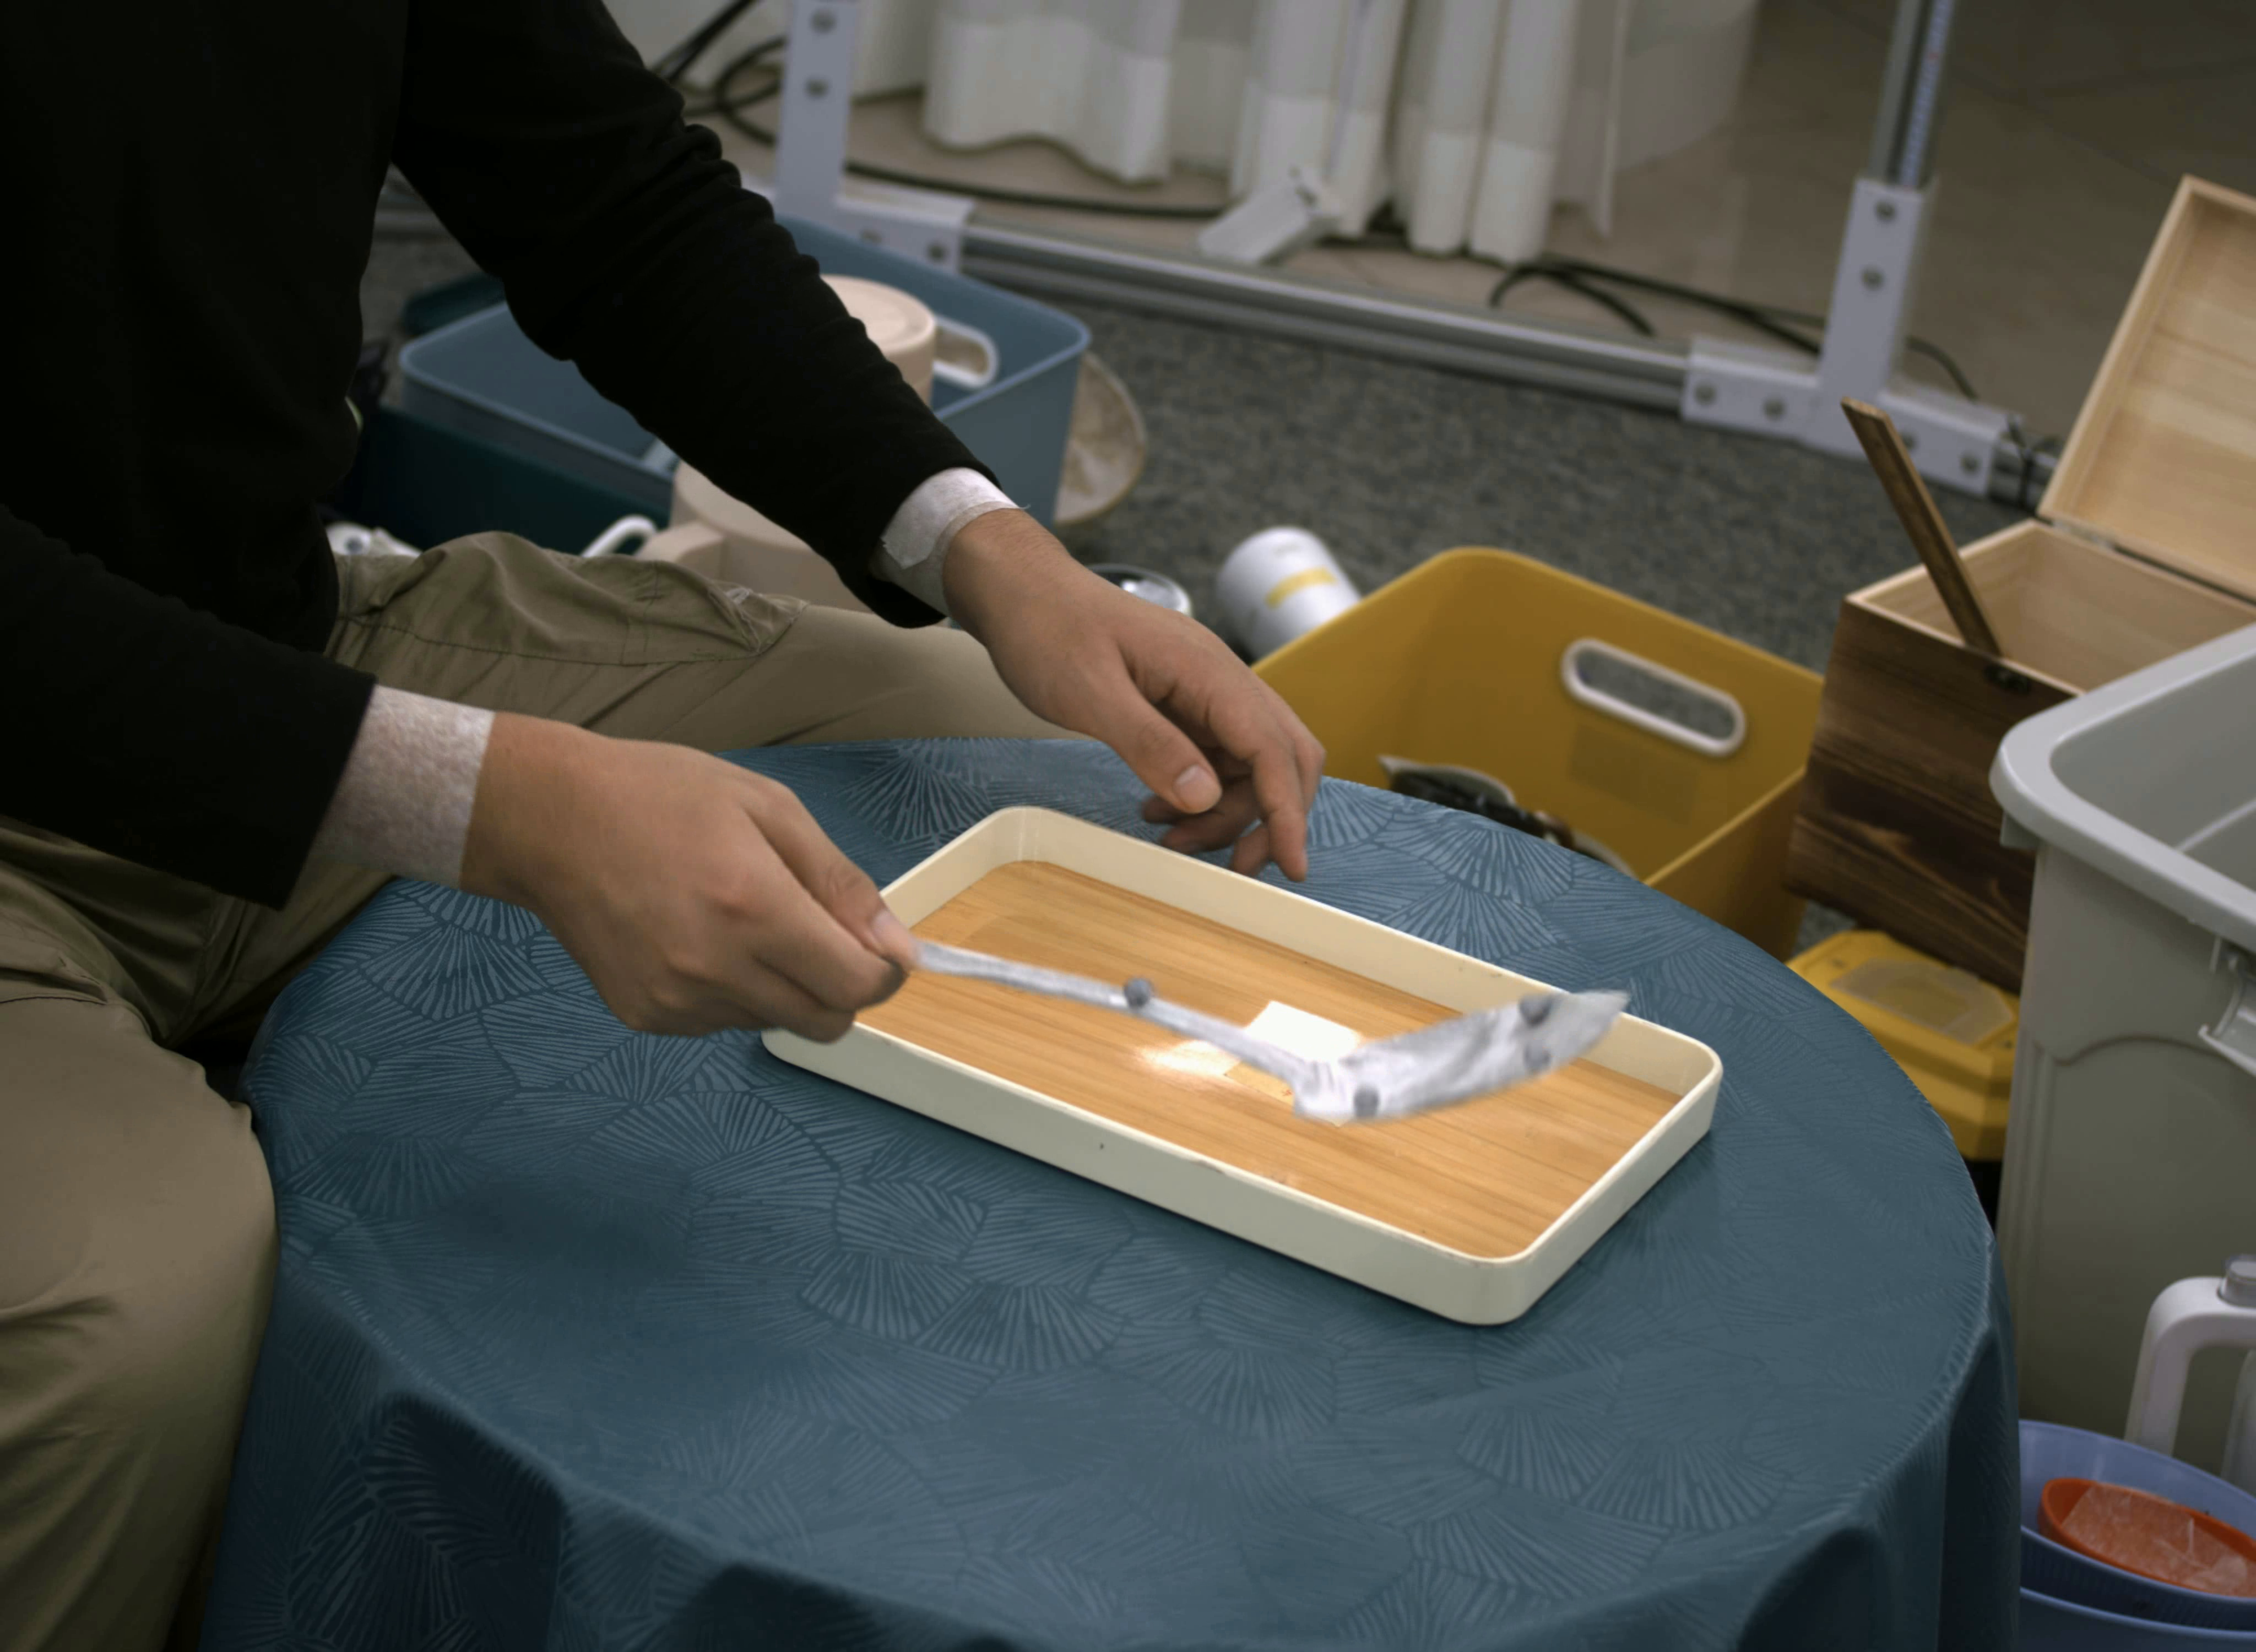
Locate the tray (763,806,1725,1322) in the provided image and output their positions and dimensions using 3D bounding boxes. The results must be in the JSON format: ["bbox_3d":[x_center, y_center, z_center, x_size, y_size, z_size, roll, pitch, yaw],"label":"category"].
[{"bbox_3d":[0.041,0.079,1.869,0.301,0.027,0.191,20,30,24],"label":"tray"}]

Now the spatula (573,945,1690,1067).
[{"bbox_3d":[-0.007,0.050,1.663,0.365,0.045,0.098,3,2,16],"label":"spatula"}]
